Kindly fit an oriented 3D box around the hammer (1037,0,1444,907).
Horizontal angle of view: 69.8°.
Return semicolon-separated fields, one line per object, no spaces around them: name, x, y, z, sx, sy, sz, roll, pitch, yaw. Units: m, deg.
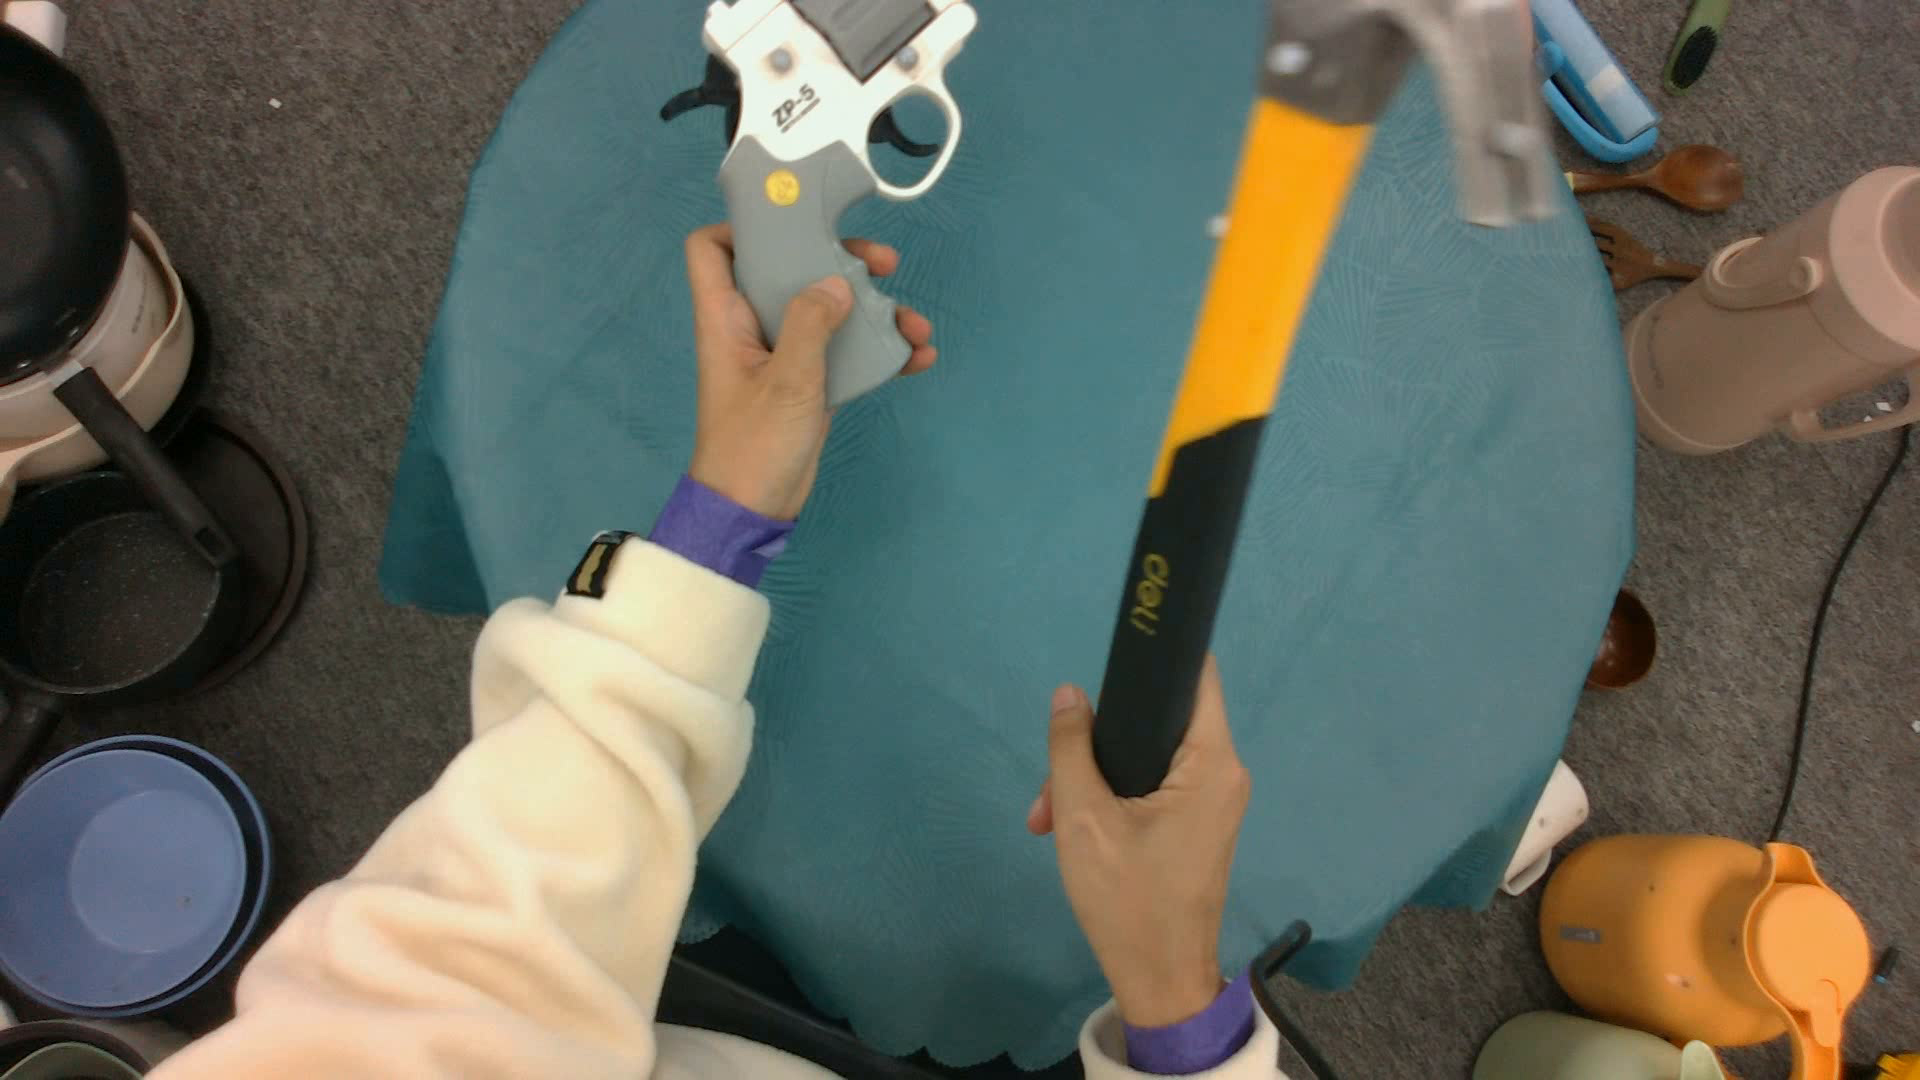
hammer;0.062;-0.018;0.439;0.032;0.337;0.131;-15;35;-35

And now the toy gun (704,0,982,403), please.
toy gun;-0.024;-0.167;0.523;0.209;0.039;0.141;-46;101;-9
